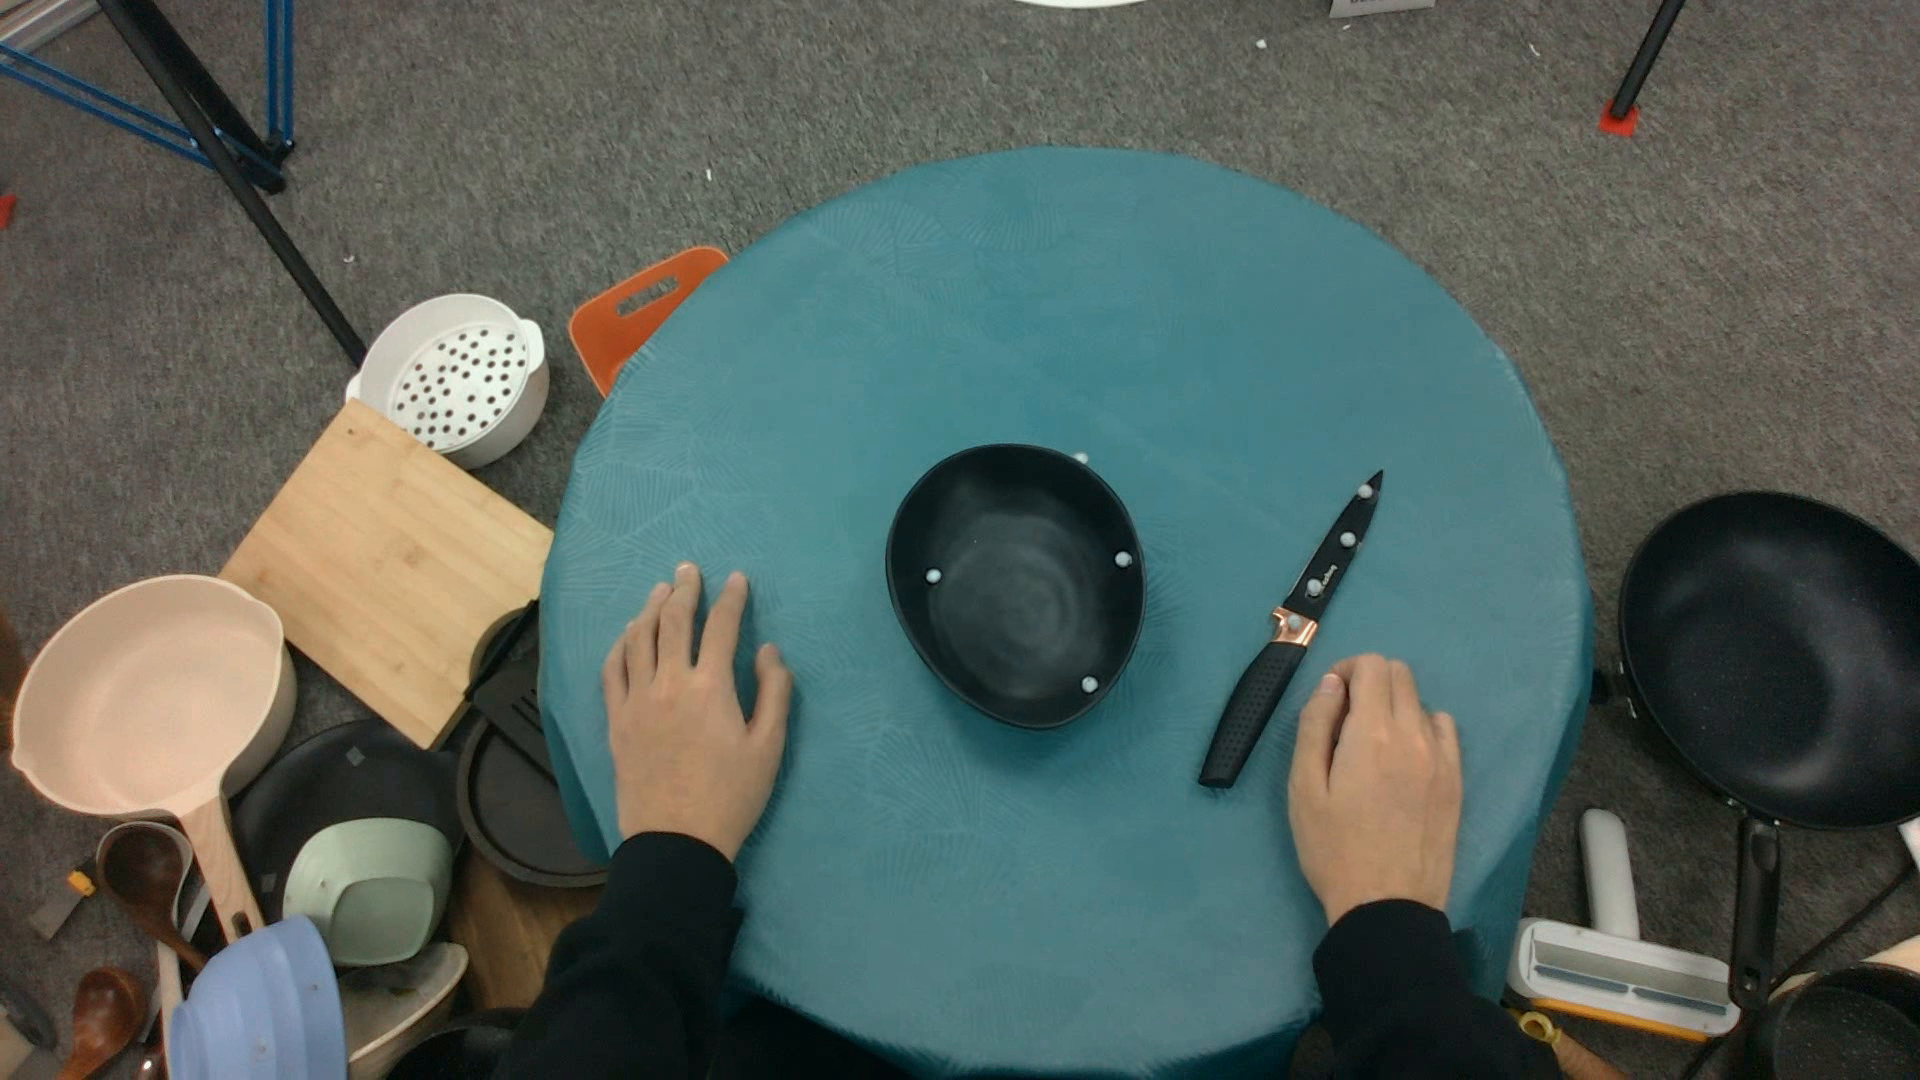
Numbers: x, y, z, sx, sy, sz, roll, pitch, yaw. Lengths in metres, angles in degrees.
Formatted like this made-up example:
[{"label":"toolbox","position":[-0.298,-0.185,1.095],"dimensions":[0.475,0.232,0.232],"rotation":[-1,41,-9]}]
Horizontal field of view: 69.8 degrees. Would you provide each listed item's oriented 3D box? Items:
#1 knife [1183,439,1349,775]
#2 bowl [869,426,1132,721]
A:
[{"label":"knife","position":[0.178,0.032,0.766],"dimensions":[0.026,0.017,0.226],"rotation":[27,67,12]},{"label":"bowl","position":[0.024,0.022,0.754],"dimensions":[0.137,0.066,0.171],"rotation":[-17,65,-4]}]
